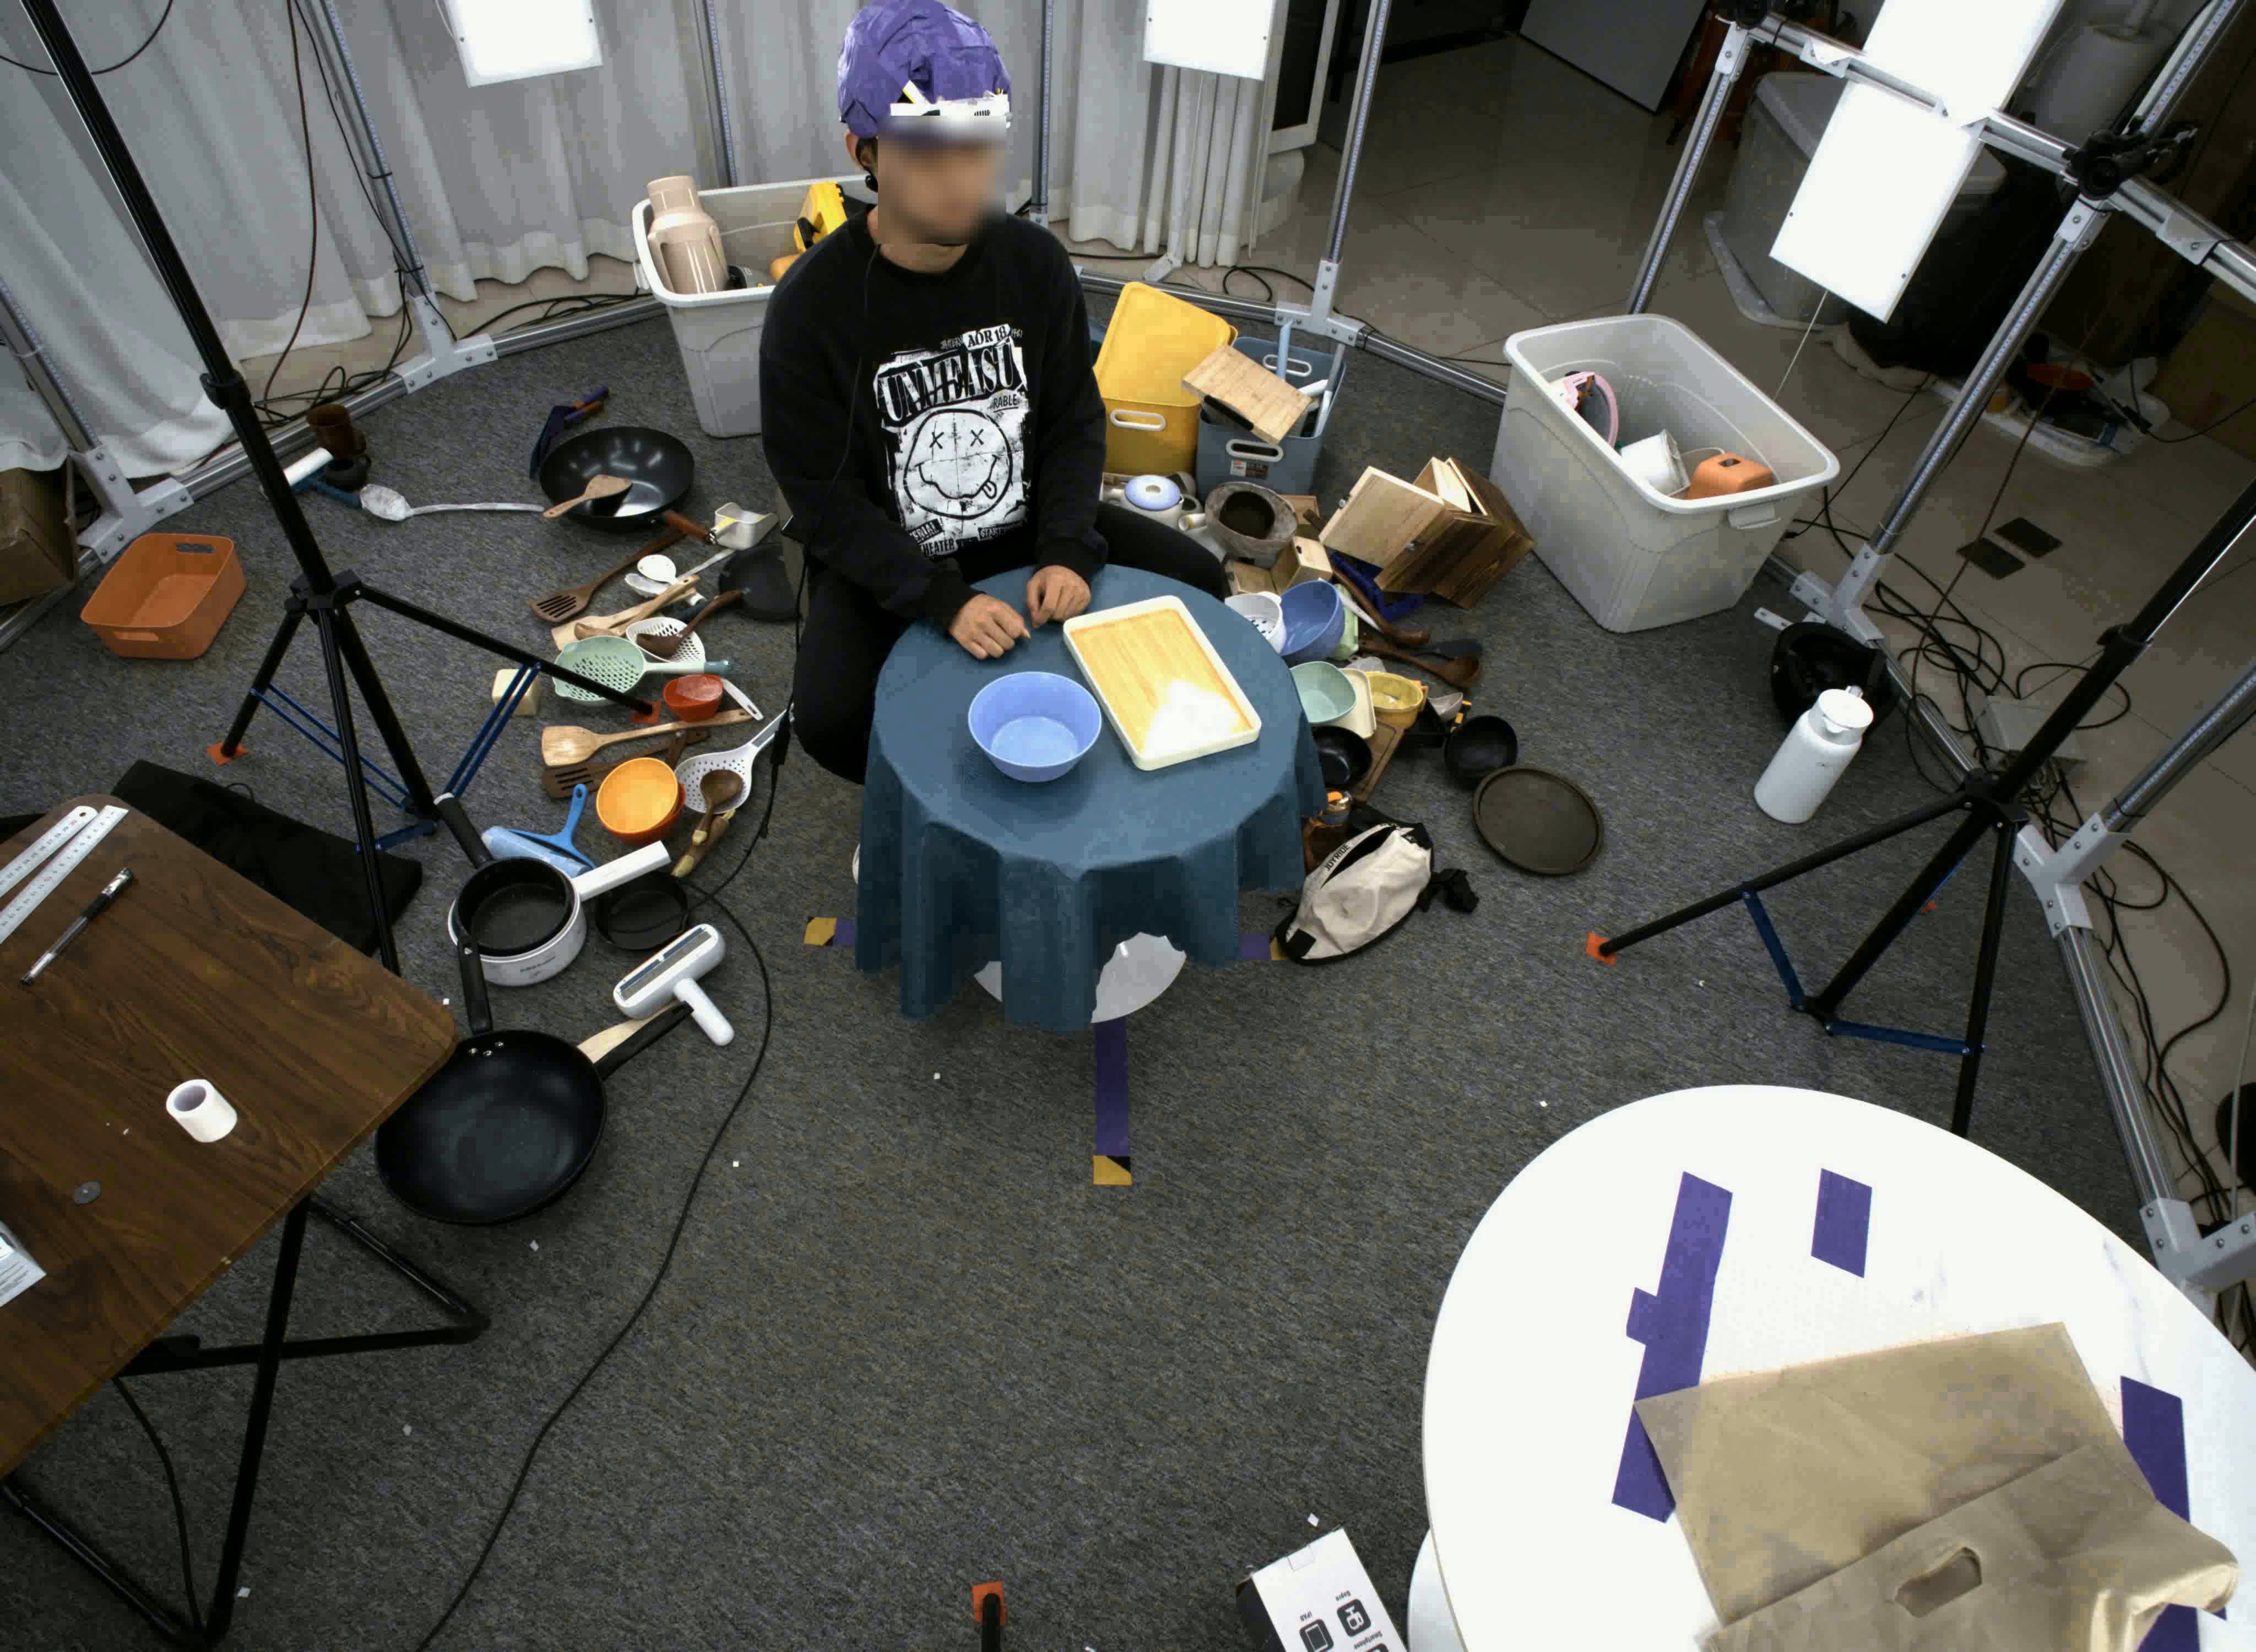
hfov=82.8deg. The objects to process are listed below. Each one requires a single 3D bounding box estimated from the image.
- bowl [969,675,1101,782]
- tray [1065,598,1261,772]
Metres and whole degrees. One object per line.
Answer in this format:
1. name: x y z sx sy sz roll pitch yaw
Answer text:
1. bowl: -0.126 -0.123 1.736 0.176 0.068 0.180 3 48 -3
2. tray: 0.046 -0.210 1.854 0.192 0.027 0.307 -16 52 -16
